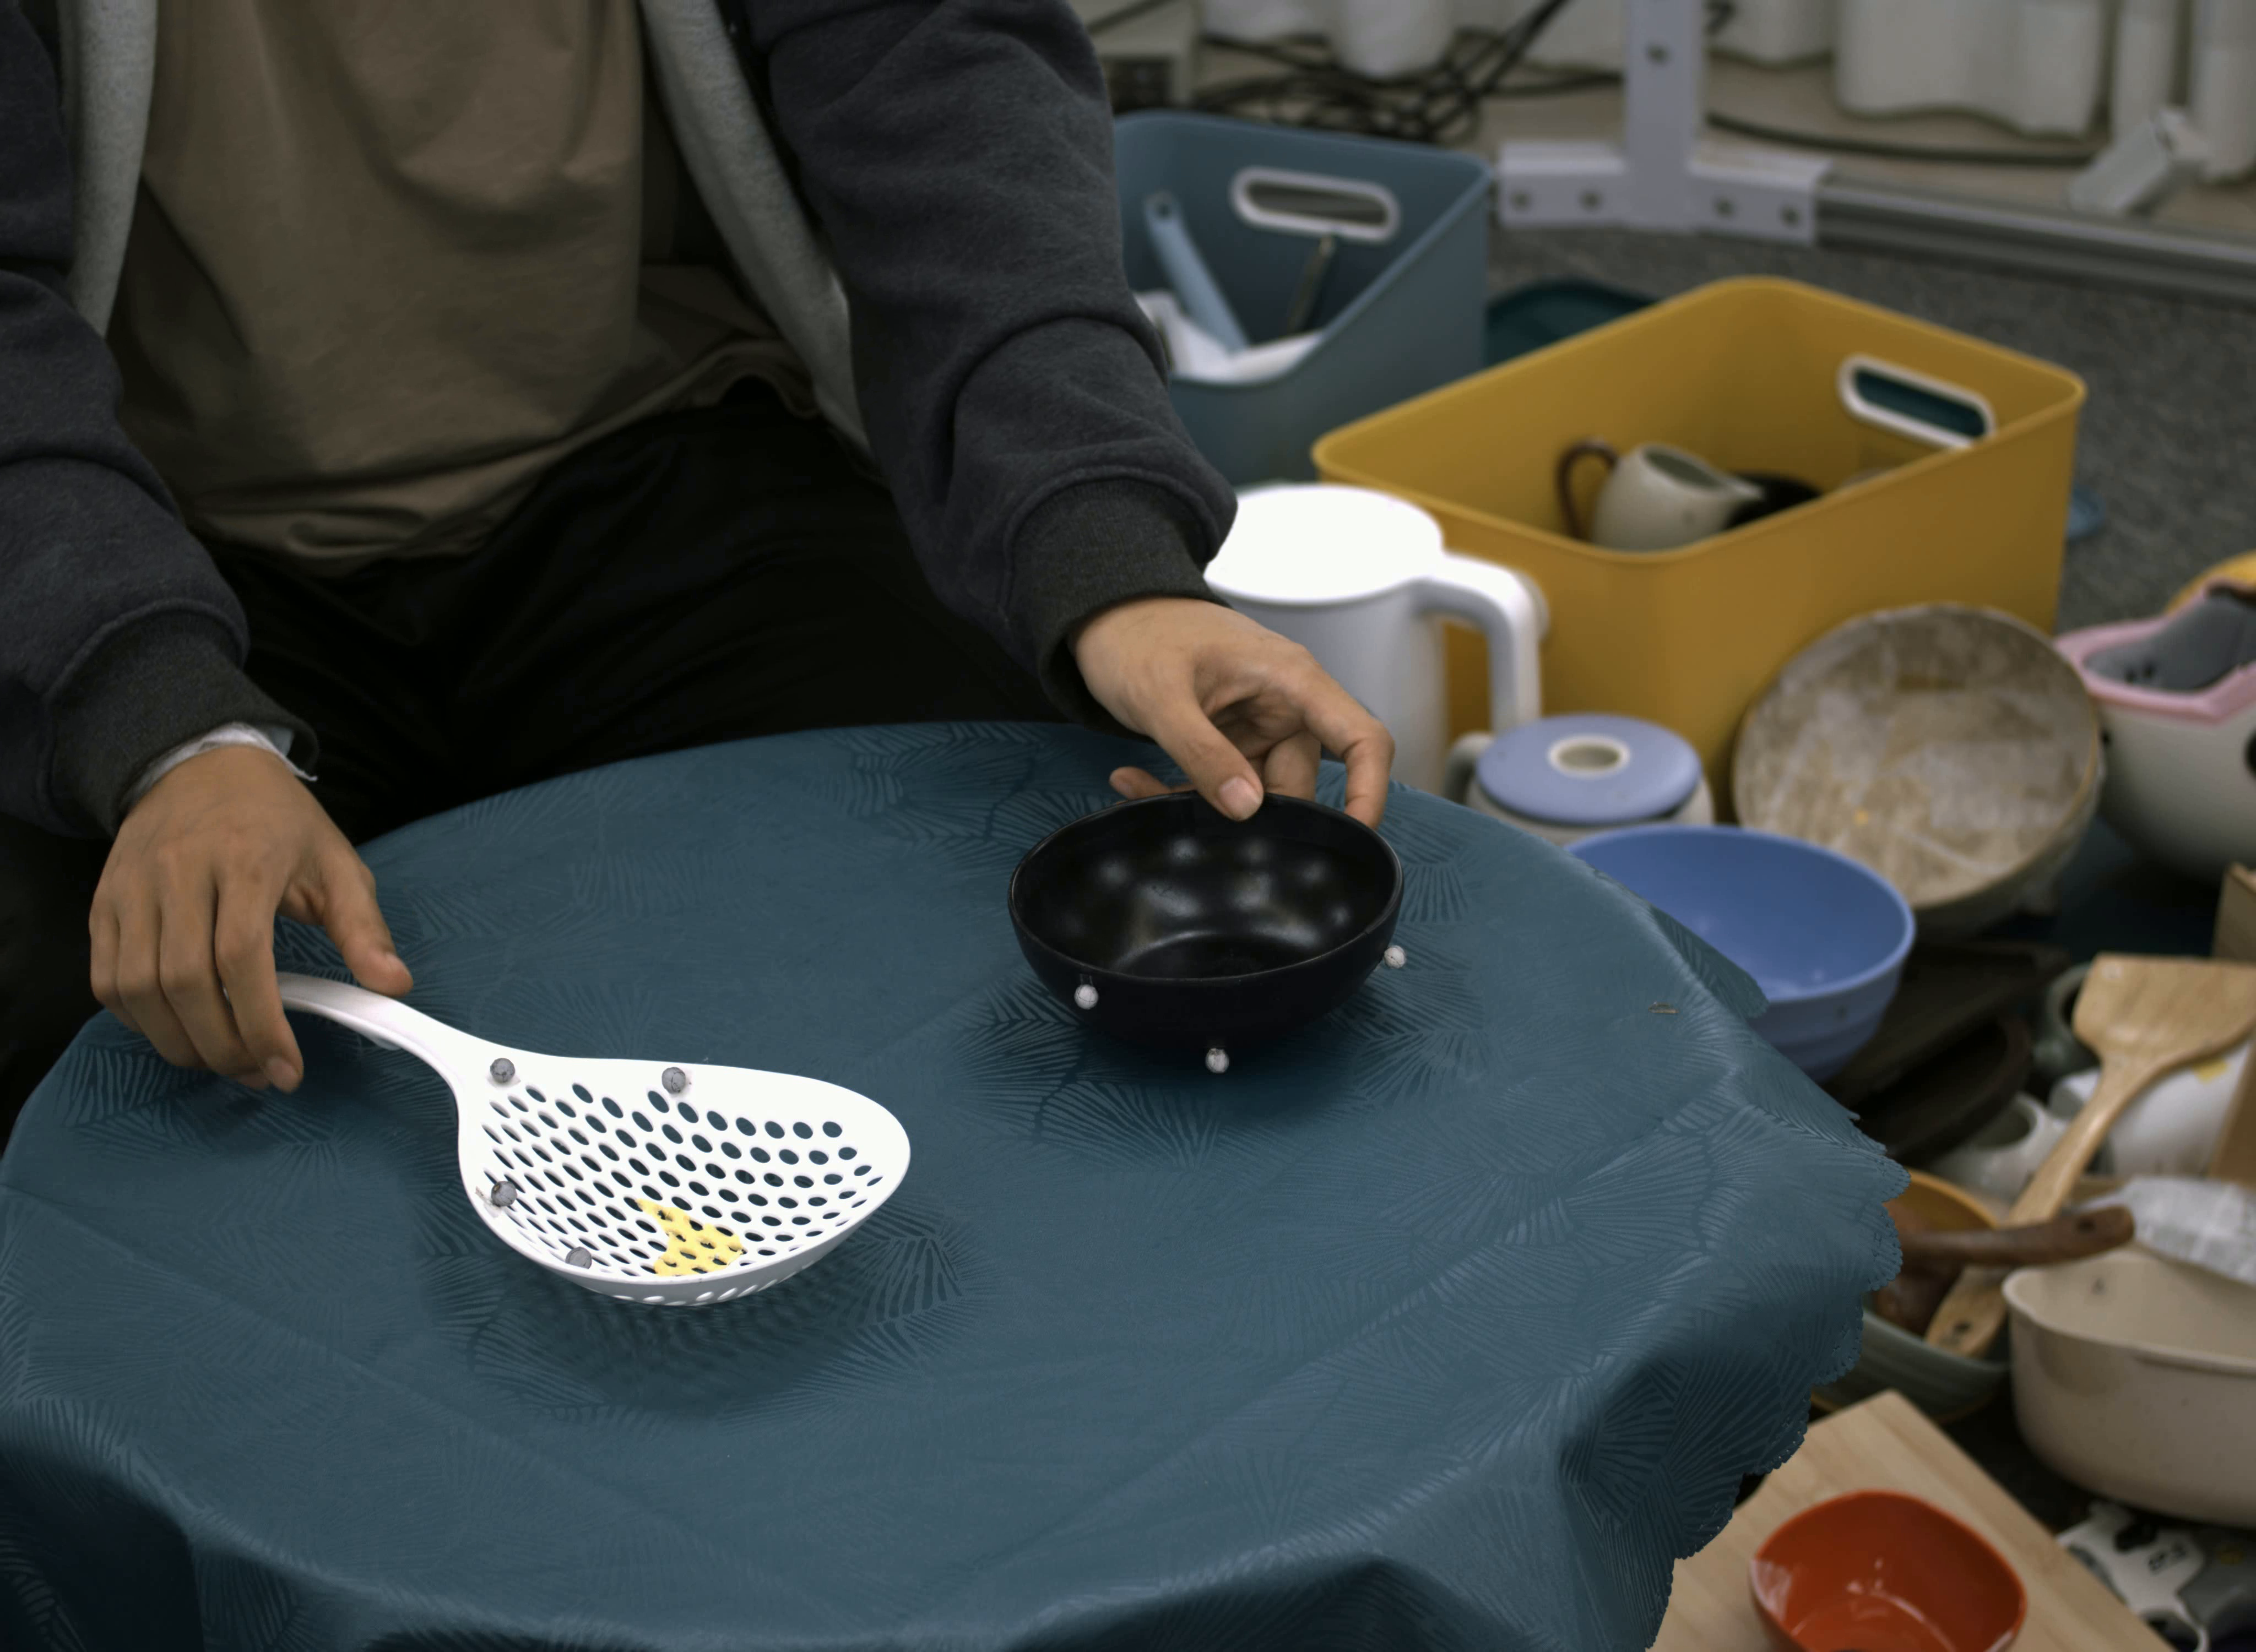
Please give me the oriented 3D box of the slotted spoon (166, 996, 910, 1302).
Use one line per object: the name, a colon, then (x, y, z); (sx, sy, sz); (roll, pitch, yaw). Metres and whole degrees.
slotted spoon: (-0.214, 0.094, 1.894); (0.347, 0.050, 0.138); (22, 40, 40)
